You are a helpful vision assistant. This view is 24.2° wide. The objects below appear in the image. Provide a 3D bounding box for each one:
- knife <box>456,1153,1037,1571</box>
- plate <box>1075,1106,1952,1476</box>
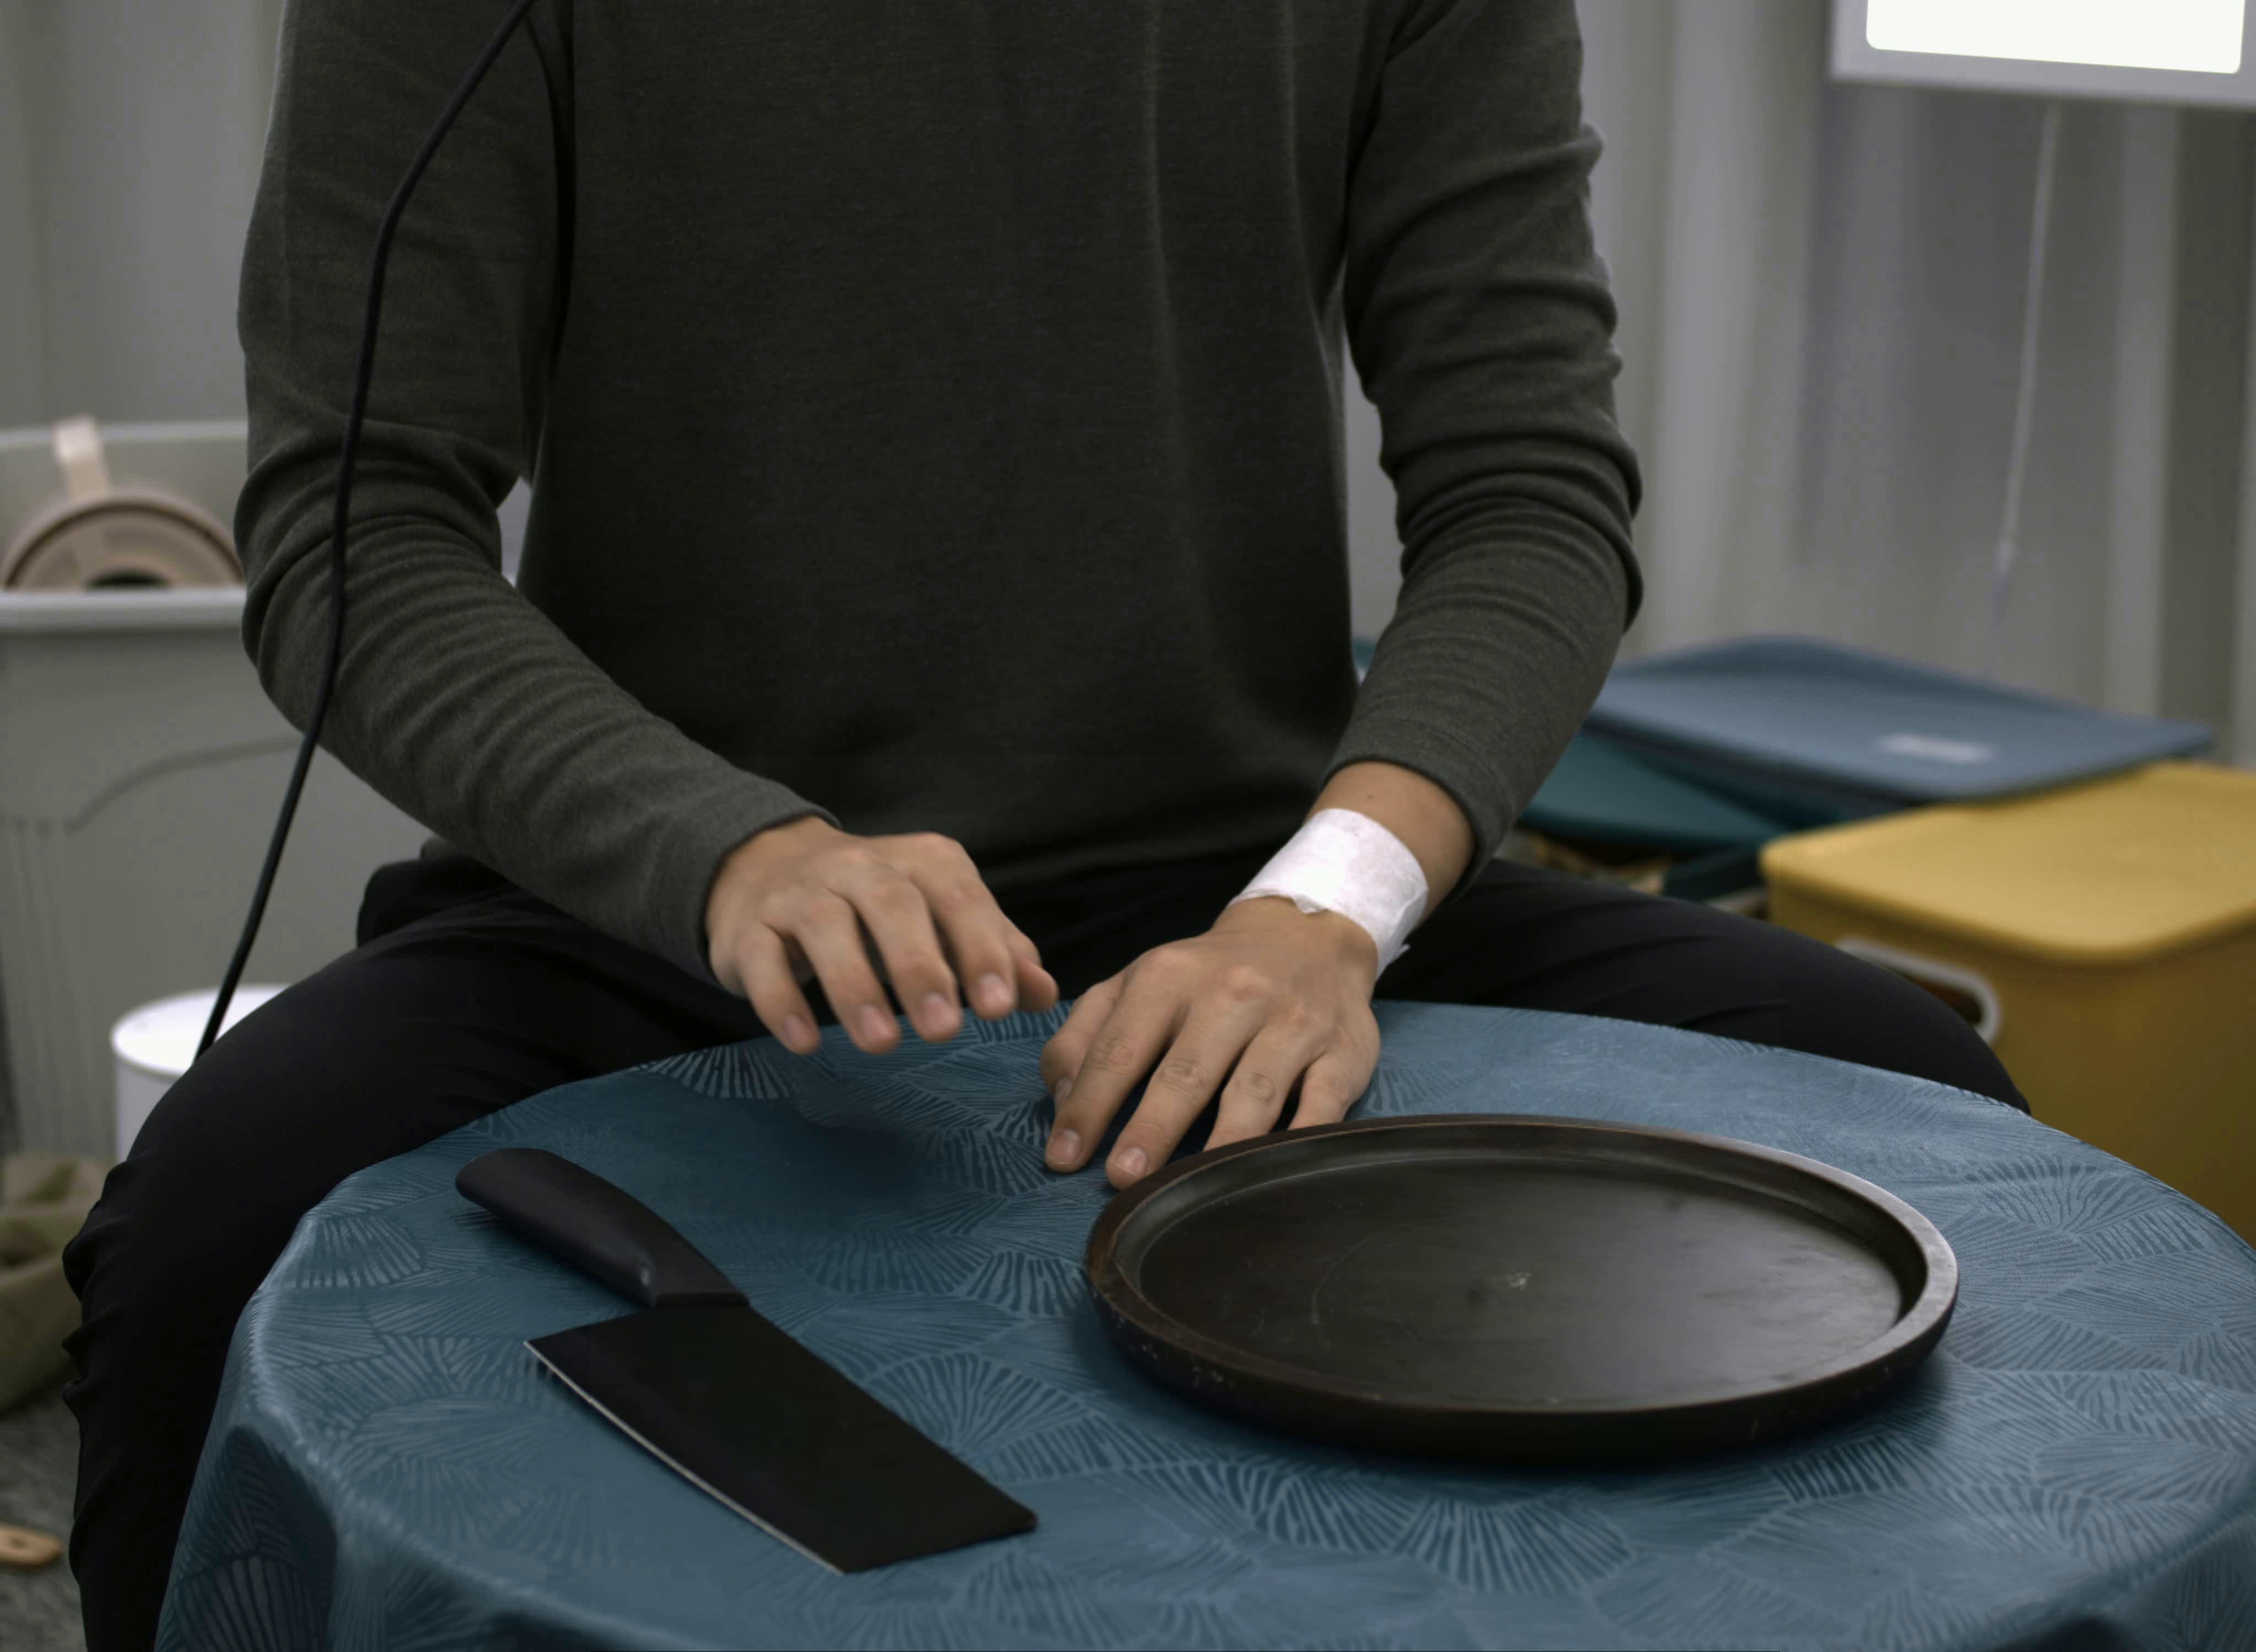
[{"bbox_3d":[-0.123,0.147,1.471,0.081,0.021,0.298,-9,20,-26],"label":"knife"},{"bbox_3d":[0.110,0.132,1.517,0.254,0.029,0.253,0,16,1],"label":"plate"}]
